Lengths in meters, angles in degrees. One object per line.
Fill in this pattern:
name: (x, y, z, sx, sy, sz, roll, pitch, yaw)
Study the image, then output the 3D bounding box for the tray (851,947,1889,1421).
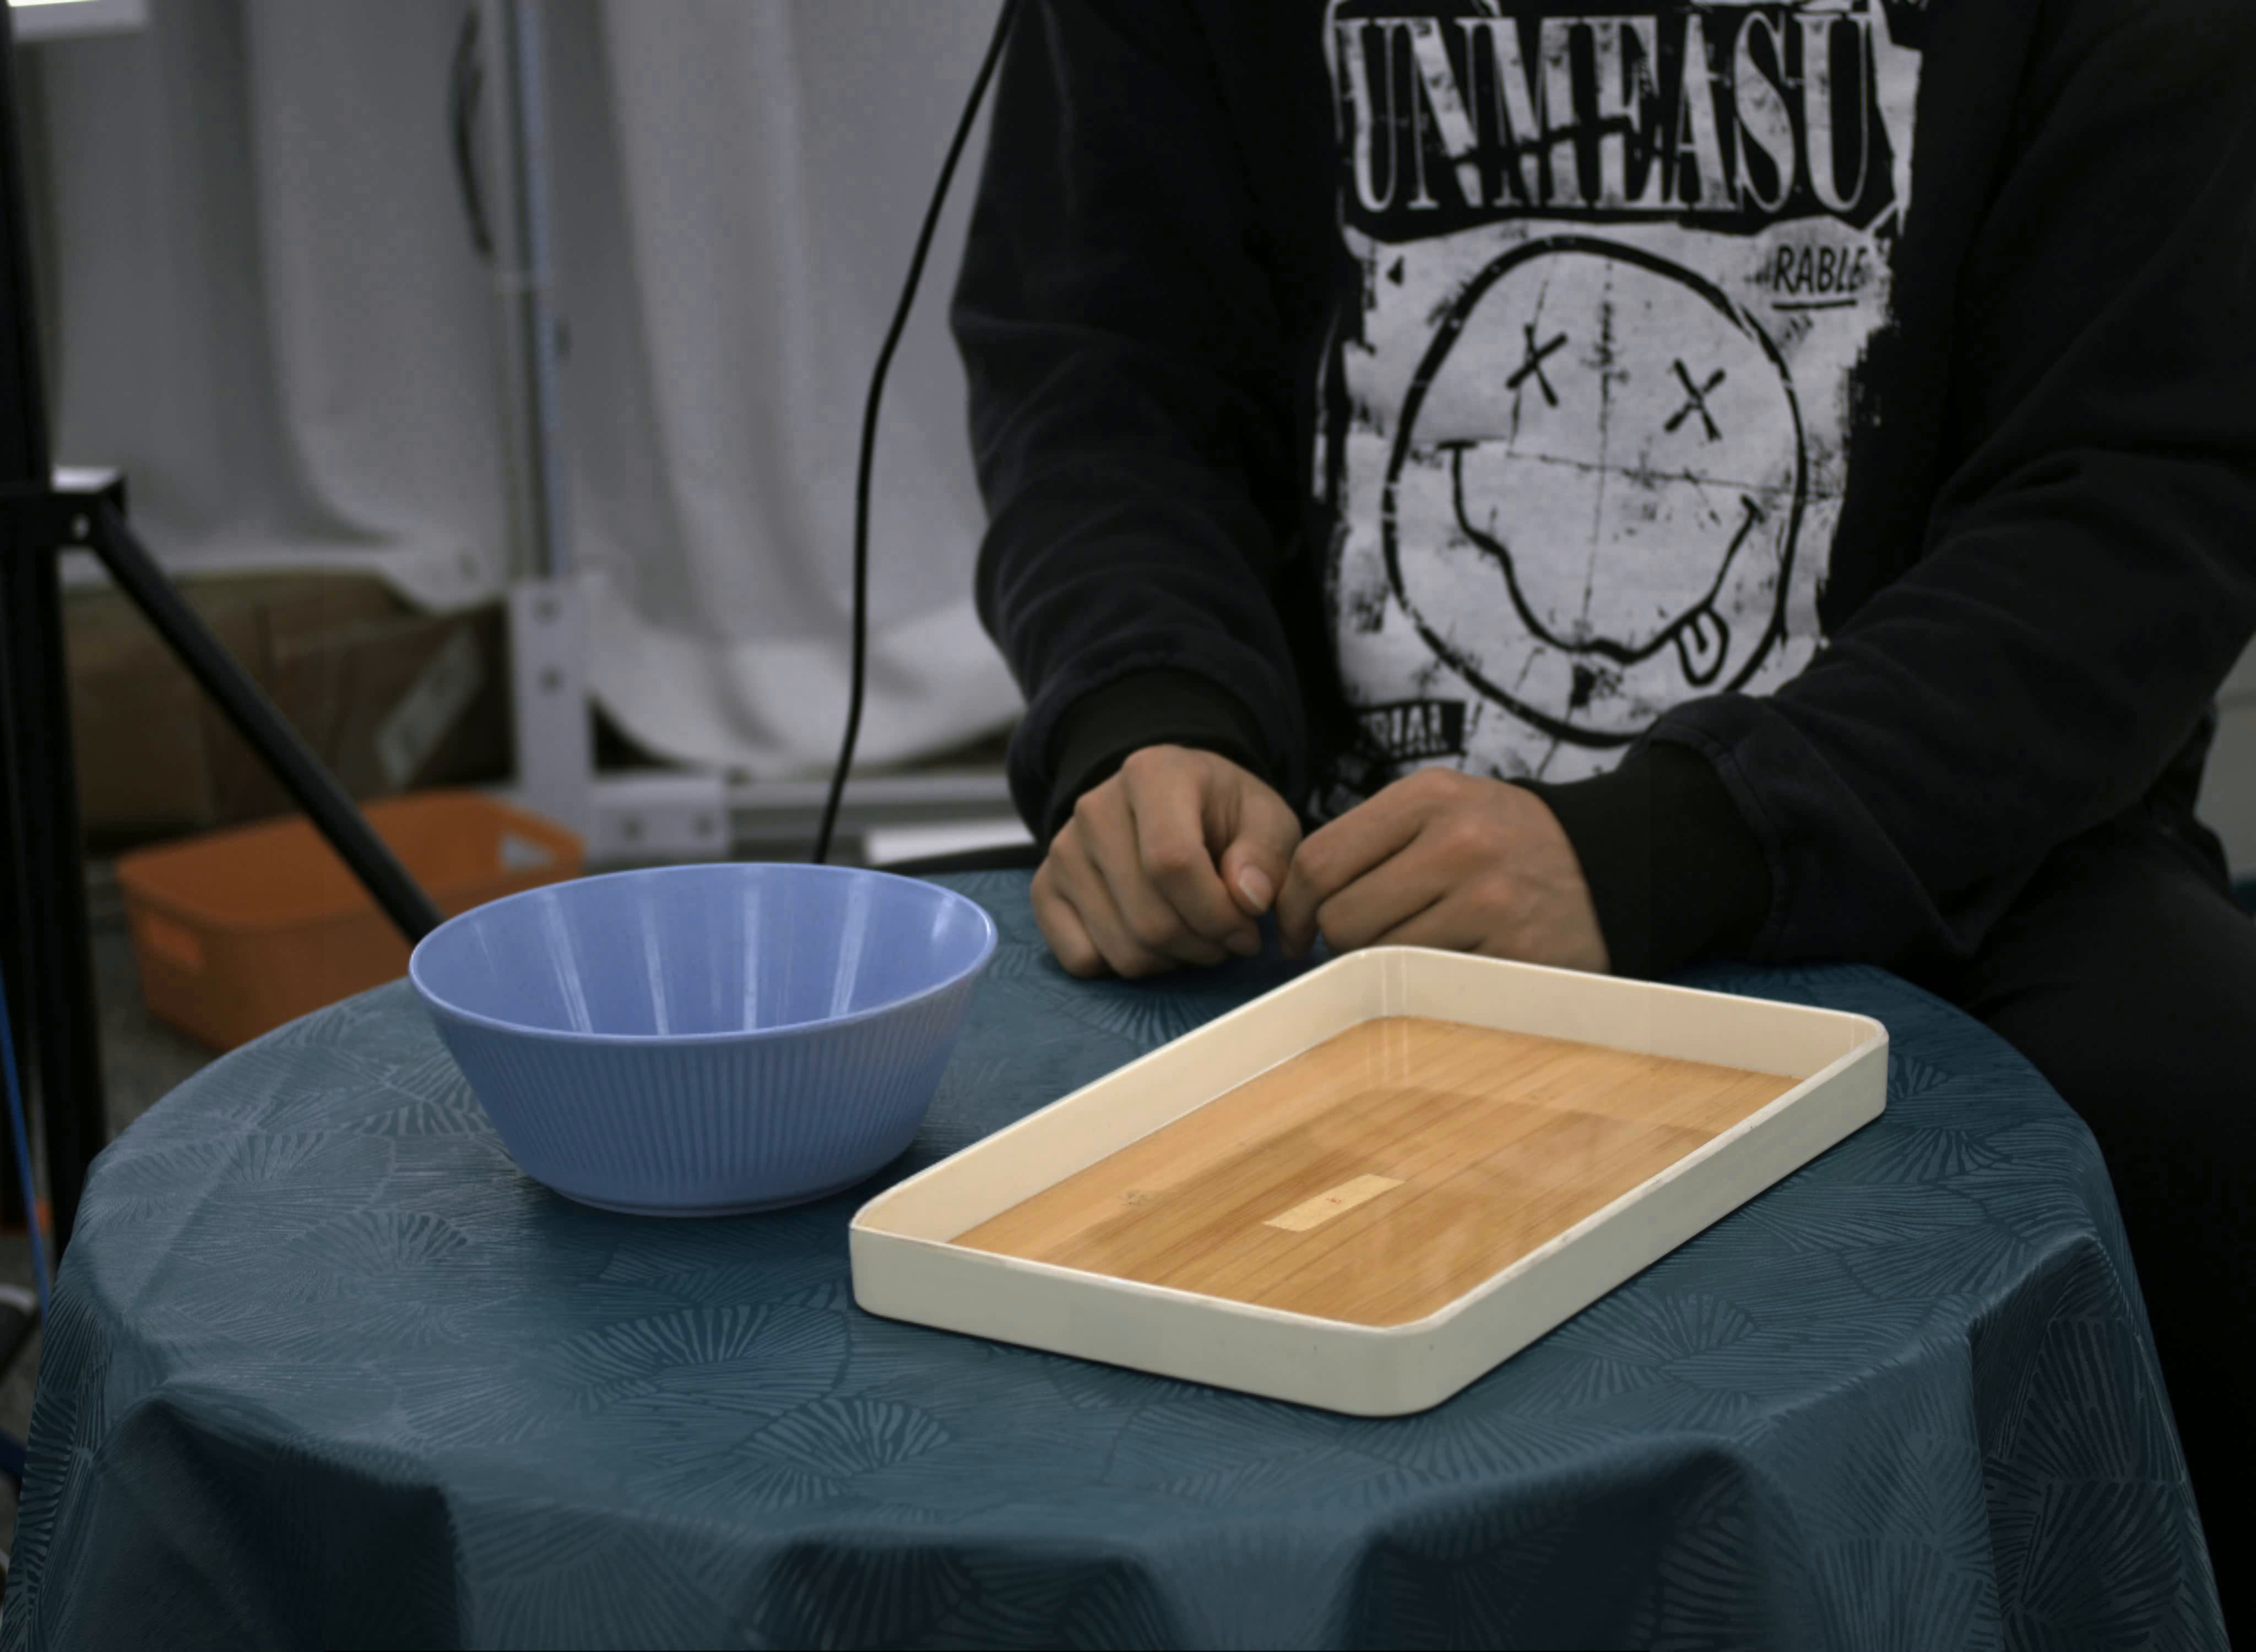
tray: (0.076, 0.098, 1.534, 0.195, 0.027, 0.294, 8, 19, 34)

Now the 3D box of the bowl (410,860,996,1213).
bowl: (-0.126, 0.065, 1.599, 0.175, 0.070, 0.177, -2, 16, -1)
